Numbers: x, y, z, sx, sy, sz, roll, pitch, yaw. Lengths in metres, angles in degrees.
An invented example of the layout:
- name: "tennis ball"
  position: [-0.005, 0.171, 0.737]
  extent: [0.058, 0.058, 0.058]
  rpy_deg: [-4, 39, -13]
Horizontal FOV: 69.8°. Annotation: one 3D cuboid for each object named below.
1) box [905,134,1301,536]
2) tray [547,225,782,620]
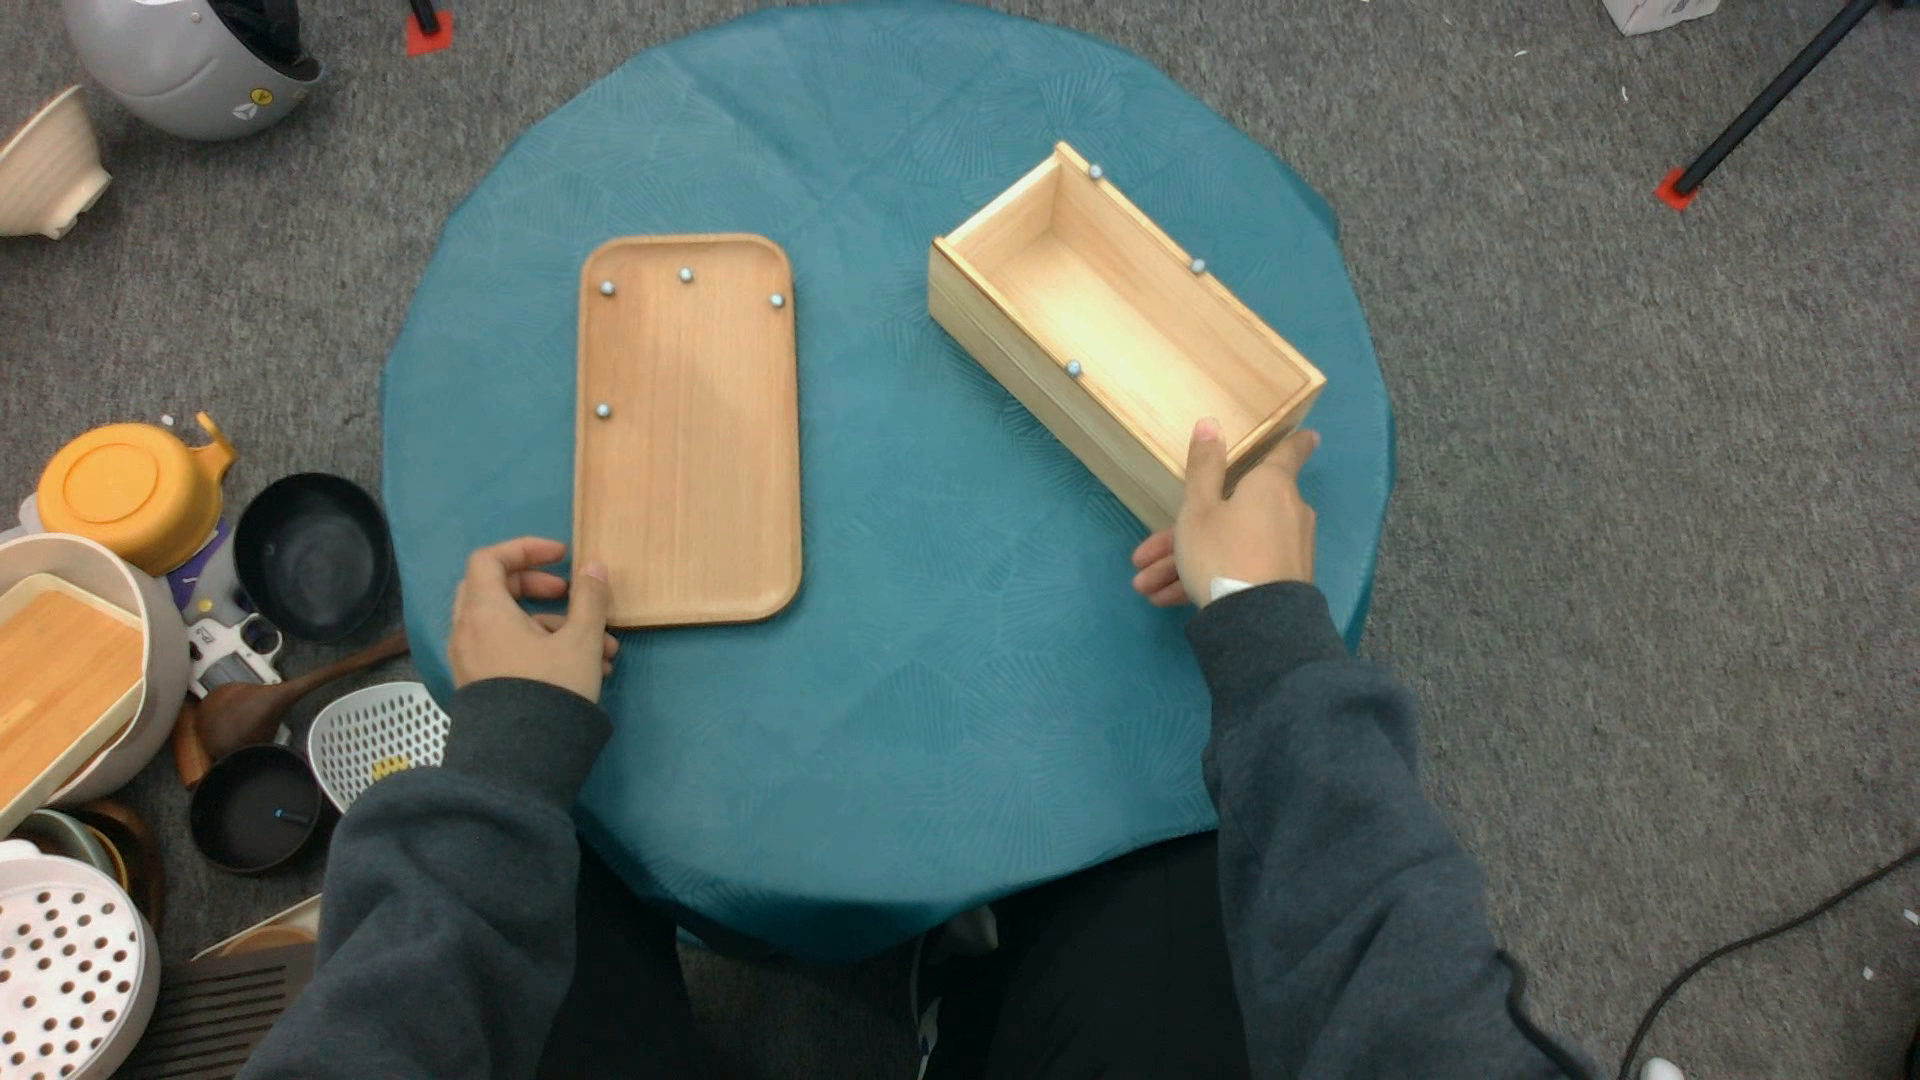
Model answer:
- name: "box"
  position: [0.078, -0.120, 0.805]
  extent: [0.108, 0.080, 0.211]
  rpy_deg: [-41, 76, -17]
- name: "tray"
  position: [-0.172, -0.074, 0.803]
  extent: [0.130, 0.023, 0.251]
  rpy_deg: [-4, 69, -2]
